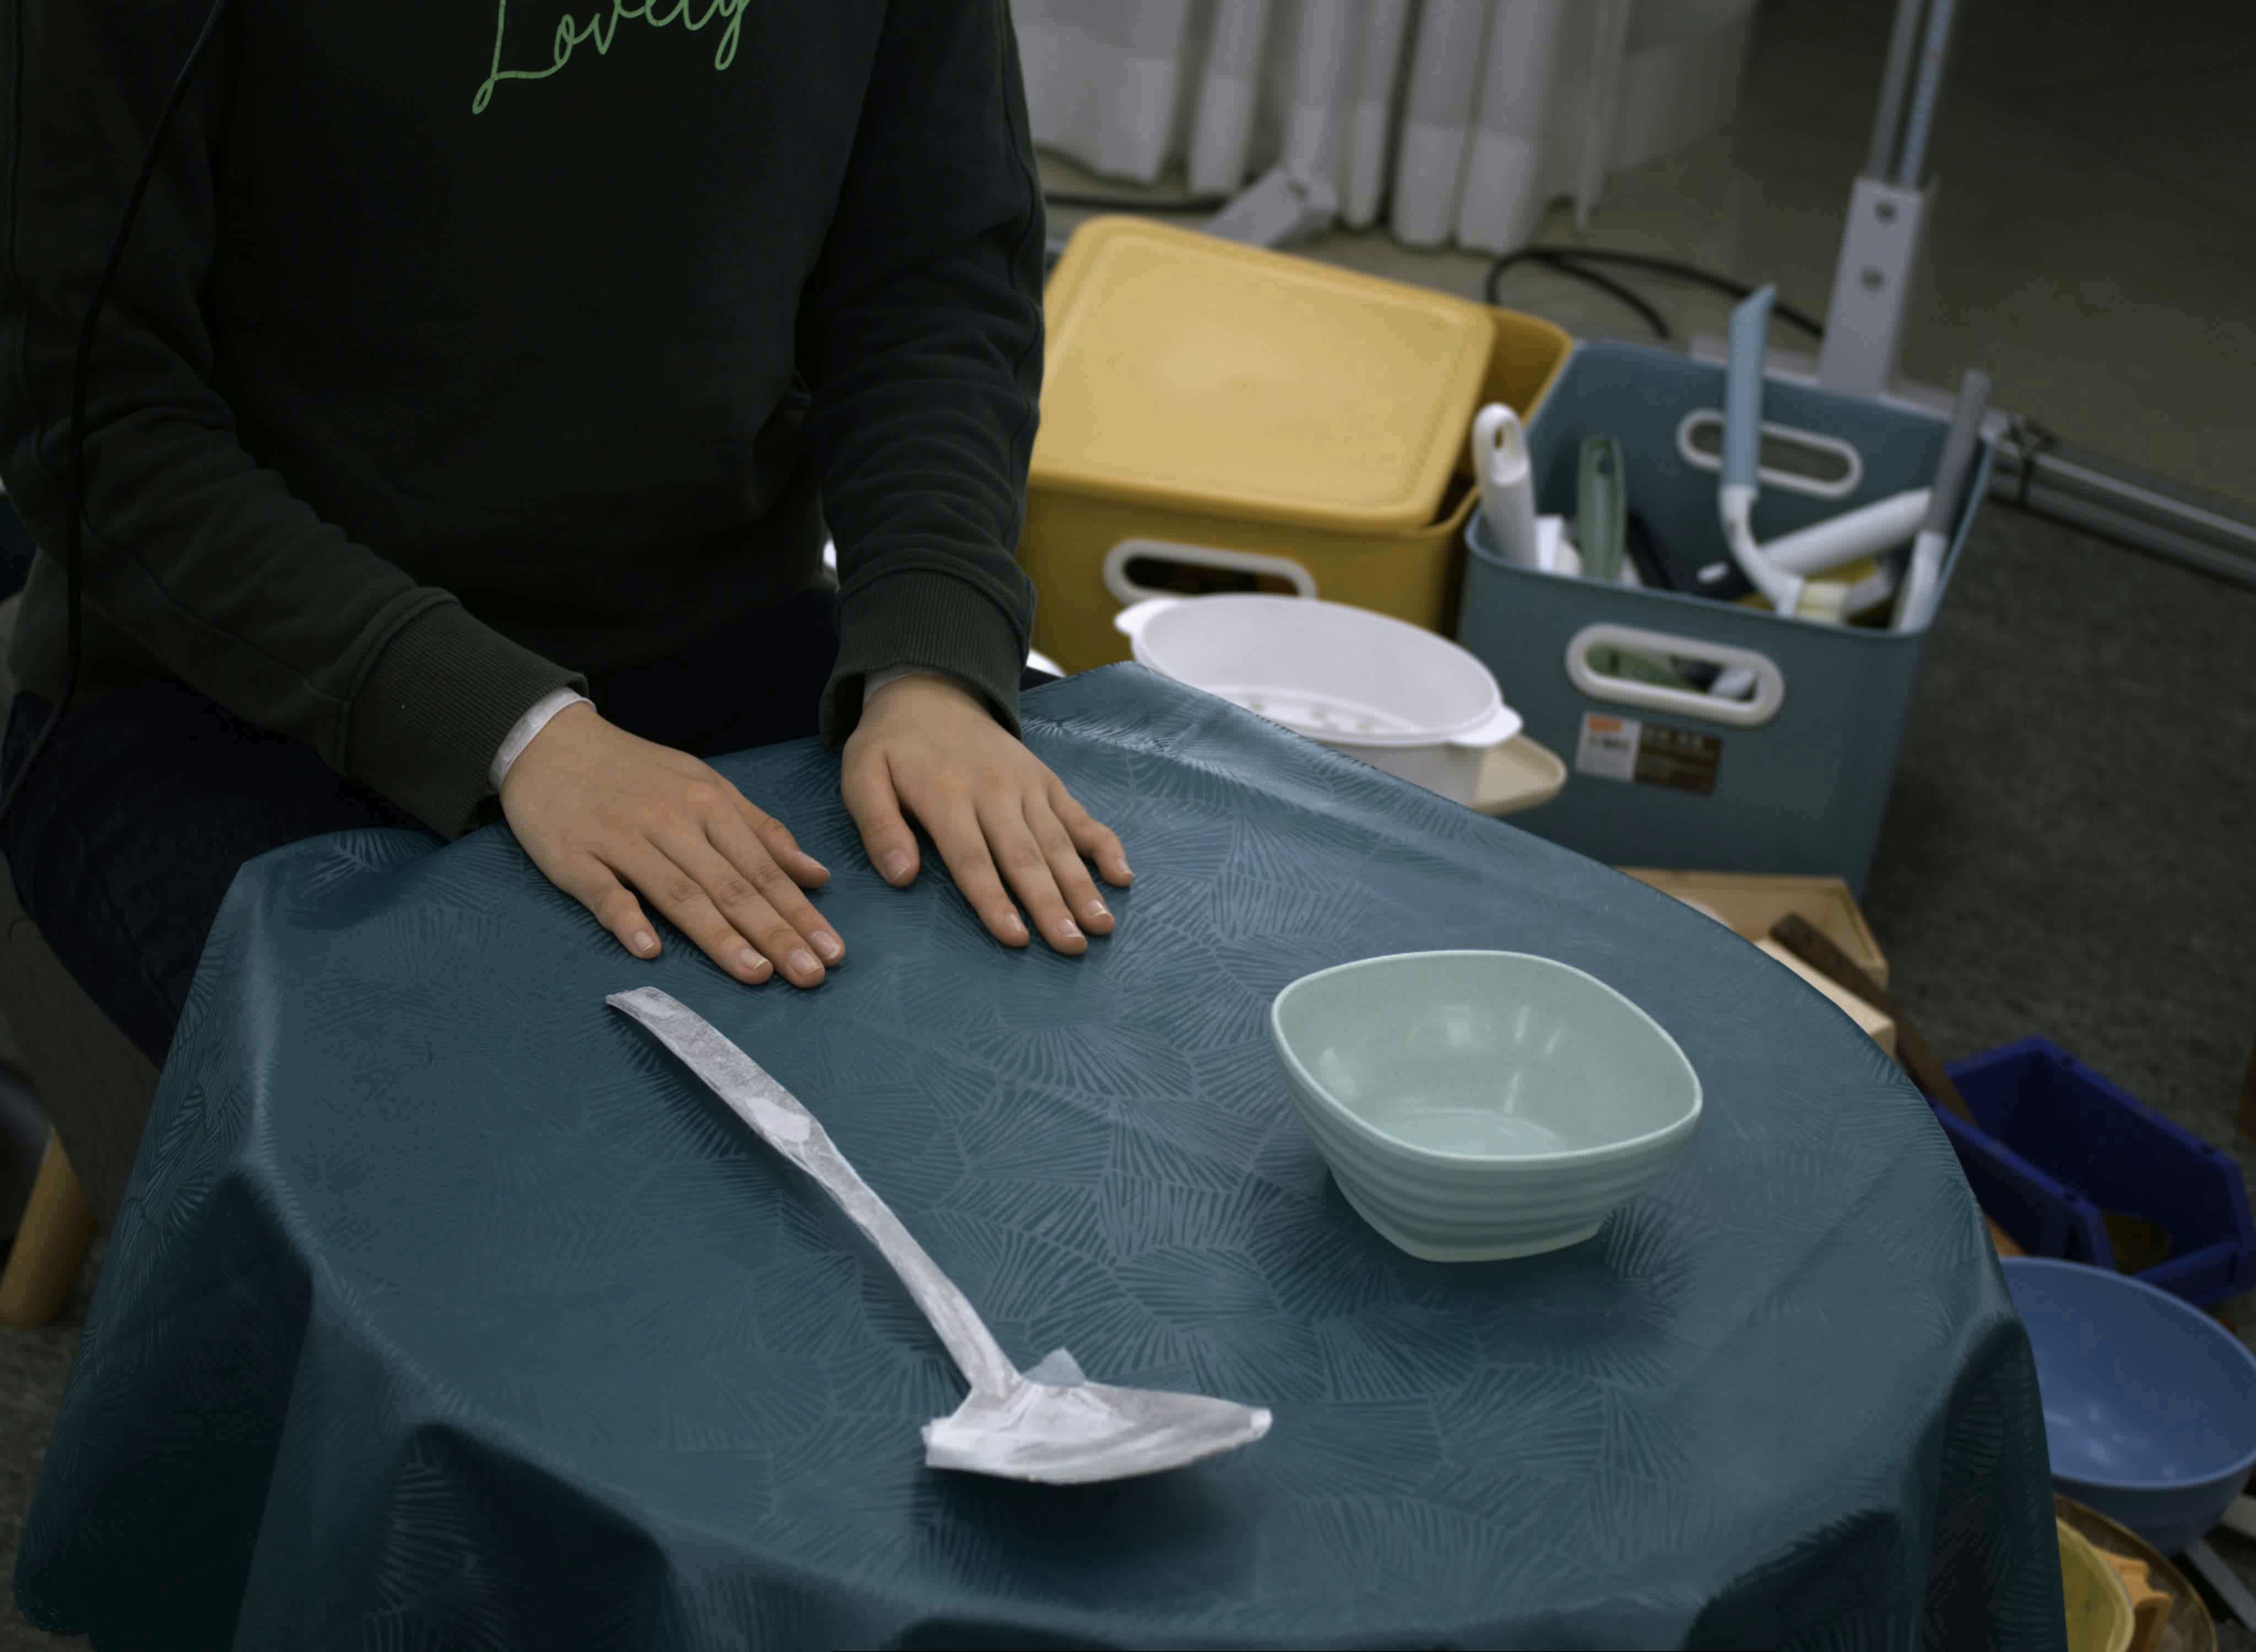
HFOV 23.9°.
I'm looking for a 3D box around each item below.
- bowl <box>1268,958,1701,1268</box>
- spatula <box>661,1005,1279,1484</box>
[{"bbox_3d":[0.117,0.103,1.808,0.151,0.058,0.152,6,26,-3],"label":"bowl"},{"bbox_3d":[-0.076,0.128,1.733,0.098,0.044,0.368,-11,31,-27],"label":"spatula"}]
